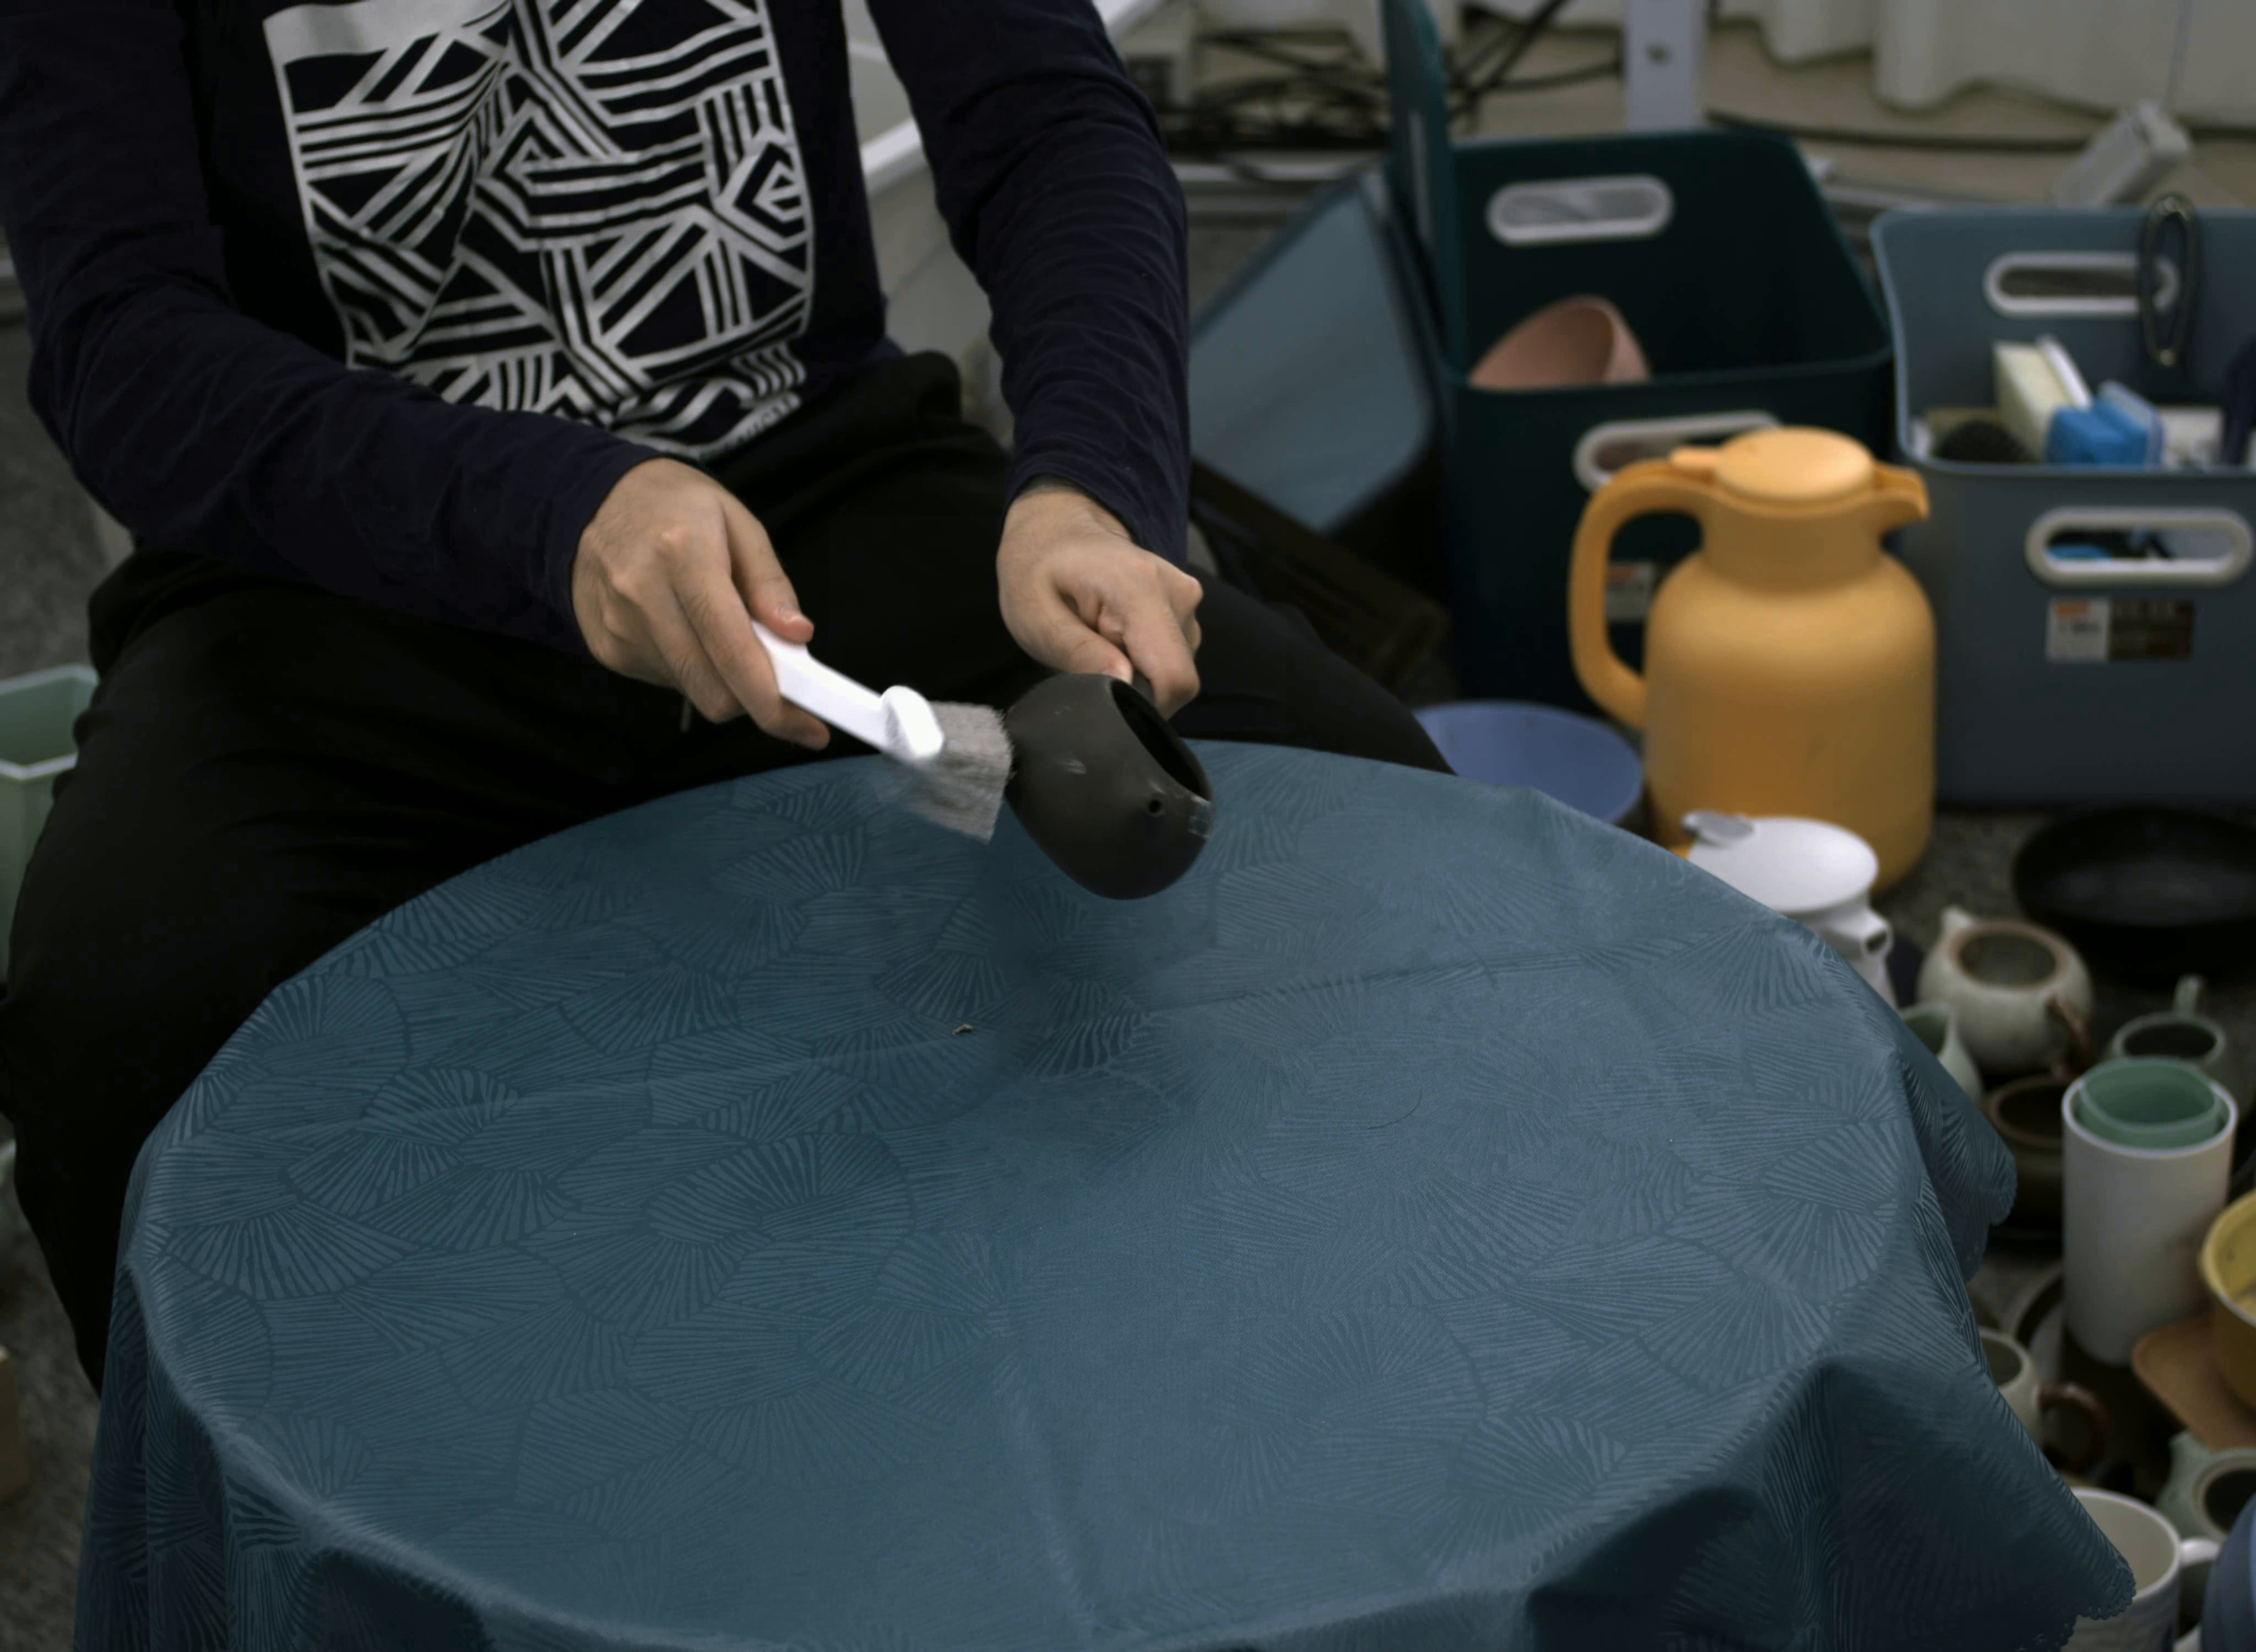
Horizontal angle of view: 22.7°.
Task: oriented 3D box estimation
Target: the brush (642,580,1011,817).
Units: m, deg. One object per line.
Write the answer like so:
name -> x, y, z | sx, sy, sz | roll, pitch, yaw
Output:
brush -> -0.104, -0.048, 1.980 | 0.050, 0.034, 0.244 | 3, 14, -29

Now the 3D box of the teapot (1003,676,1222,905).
teapot -> -0.005, -0.019, 1.924 | 0.052, 0.082, 0.115 | -40, 21, 15
